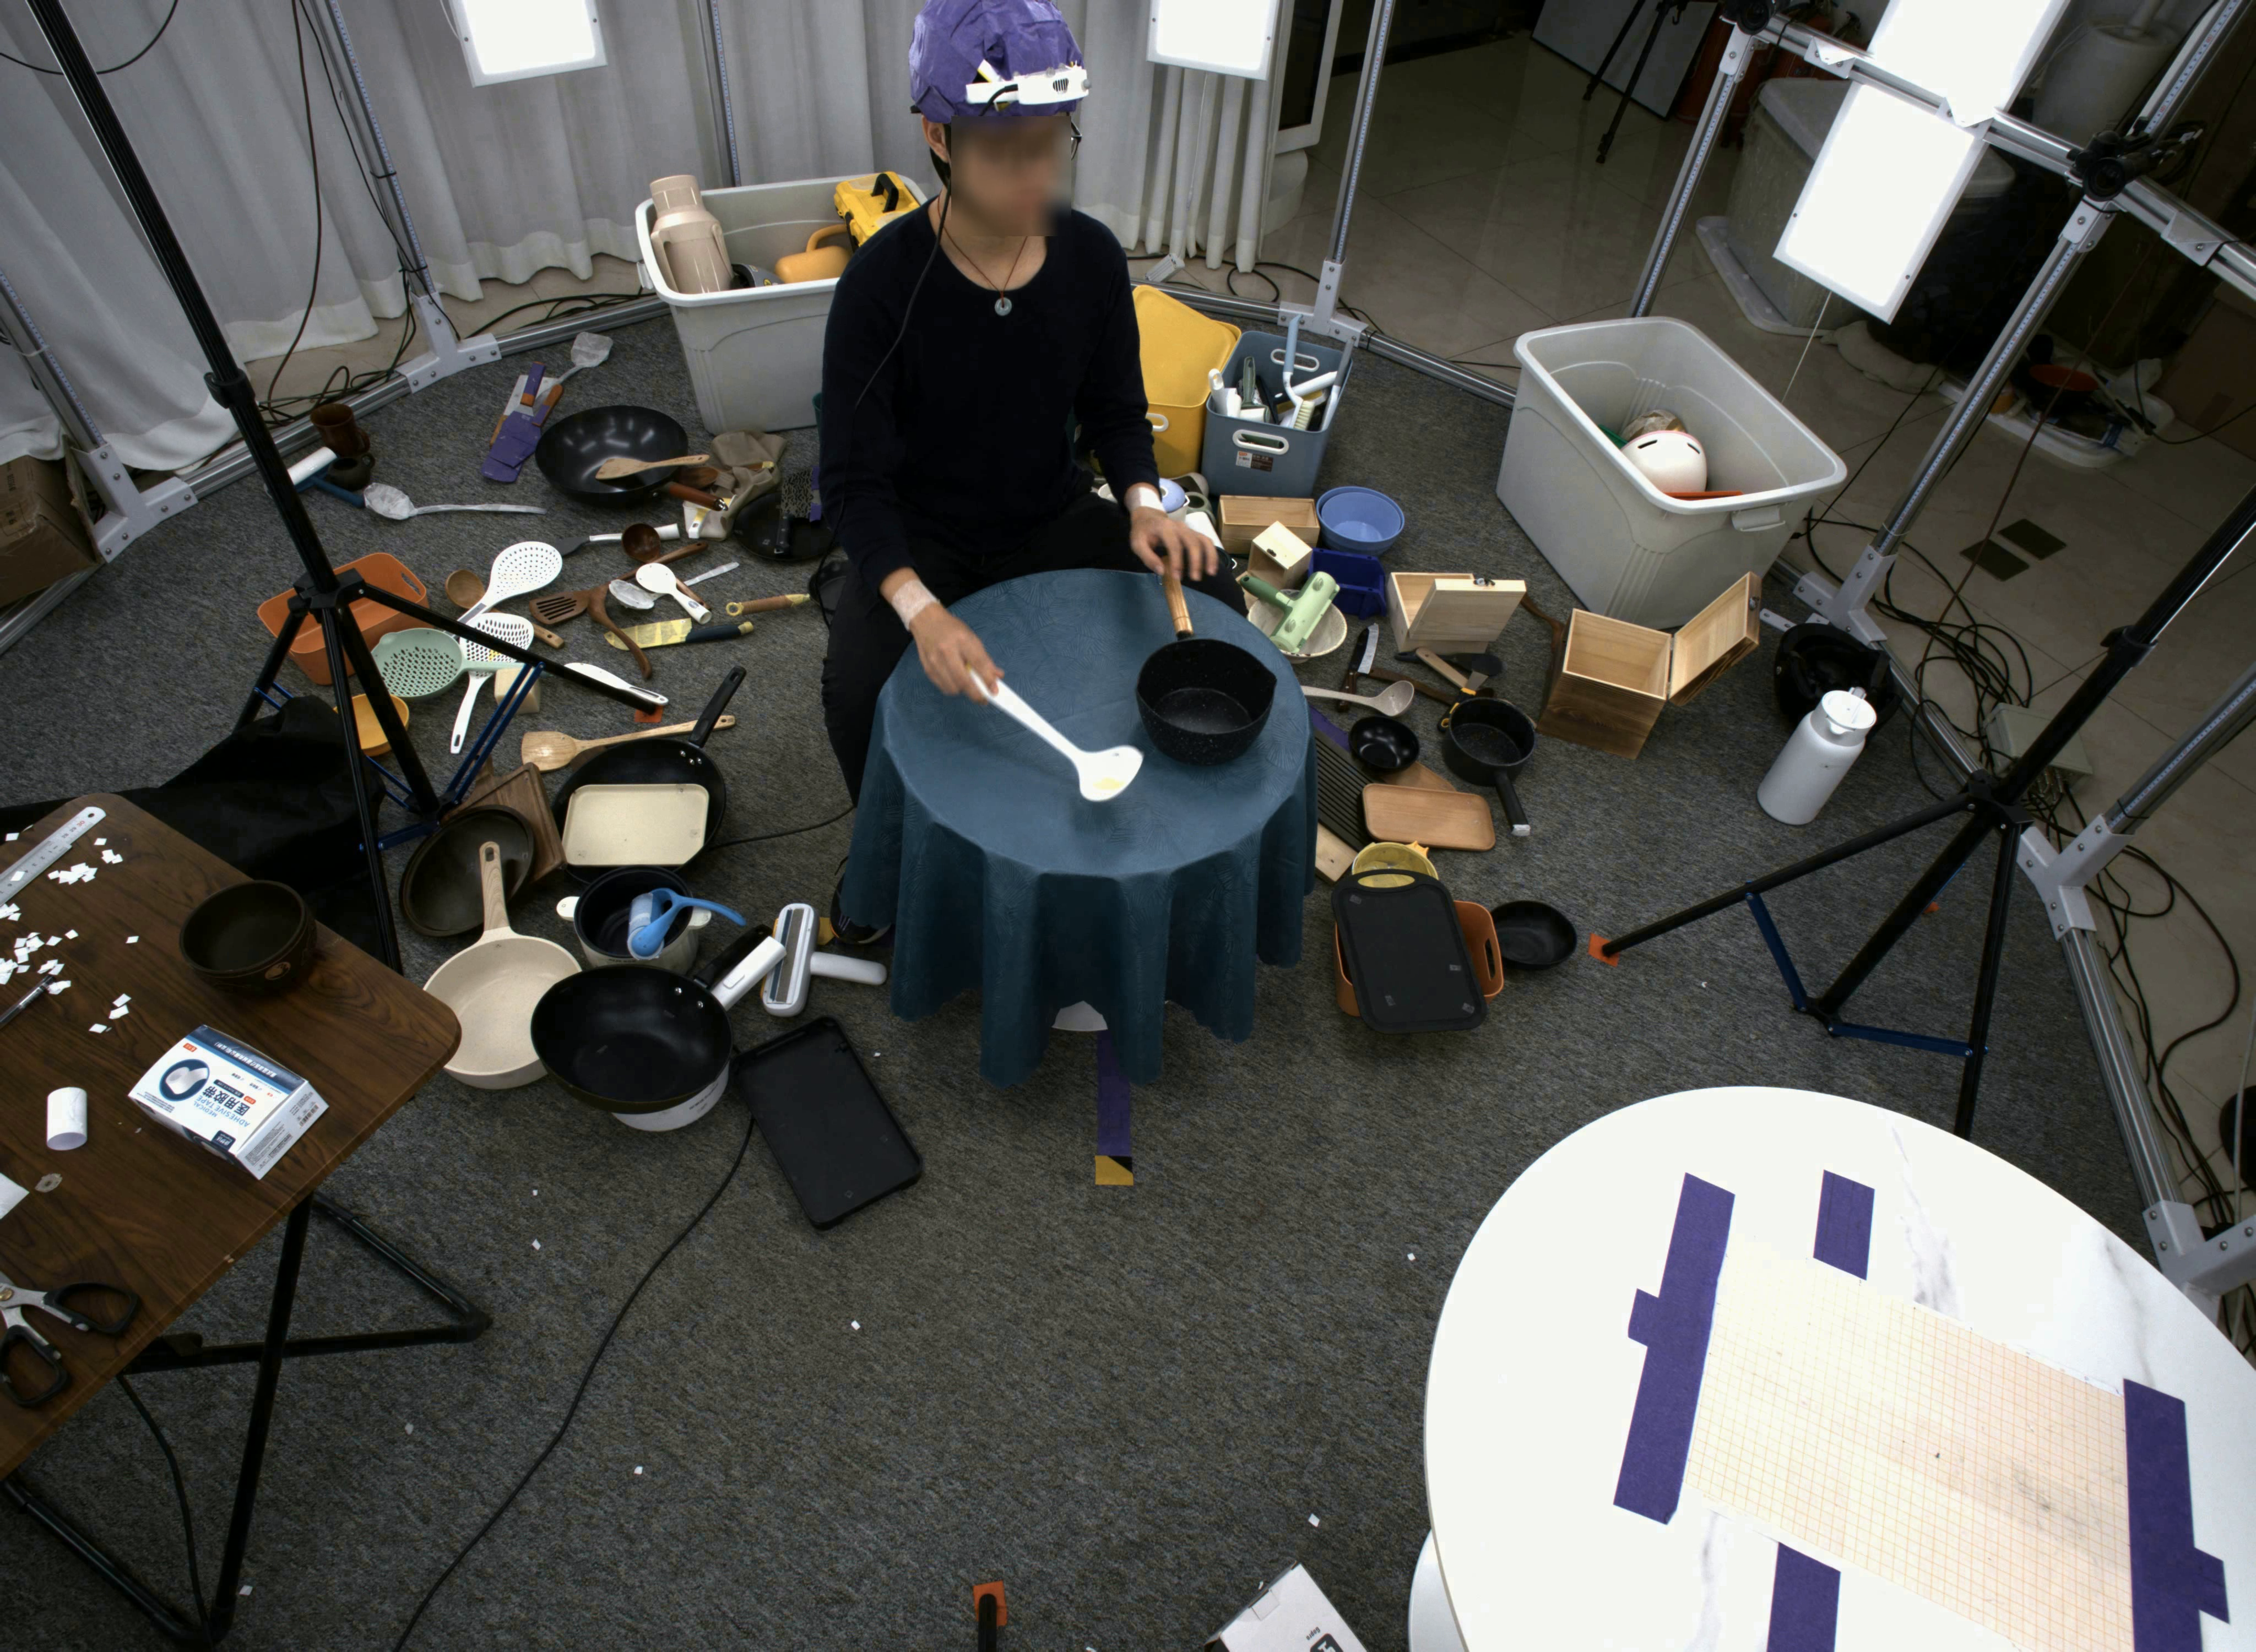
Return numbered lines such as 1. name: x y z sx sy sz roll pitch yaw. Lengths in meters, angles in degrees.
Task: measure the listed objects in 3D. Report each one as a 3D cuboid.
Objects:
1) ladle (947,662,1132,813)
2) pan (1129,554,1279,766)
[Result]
1. ladle: -0.121 -0.122 1.674 0.295 0.069 0.091 39 78 12
2. pan: 0.086 -0.233 1.807 0.207 0.105 0.351 -9 52 -10
